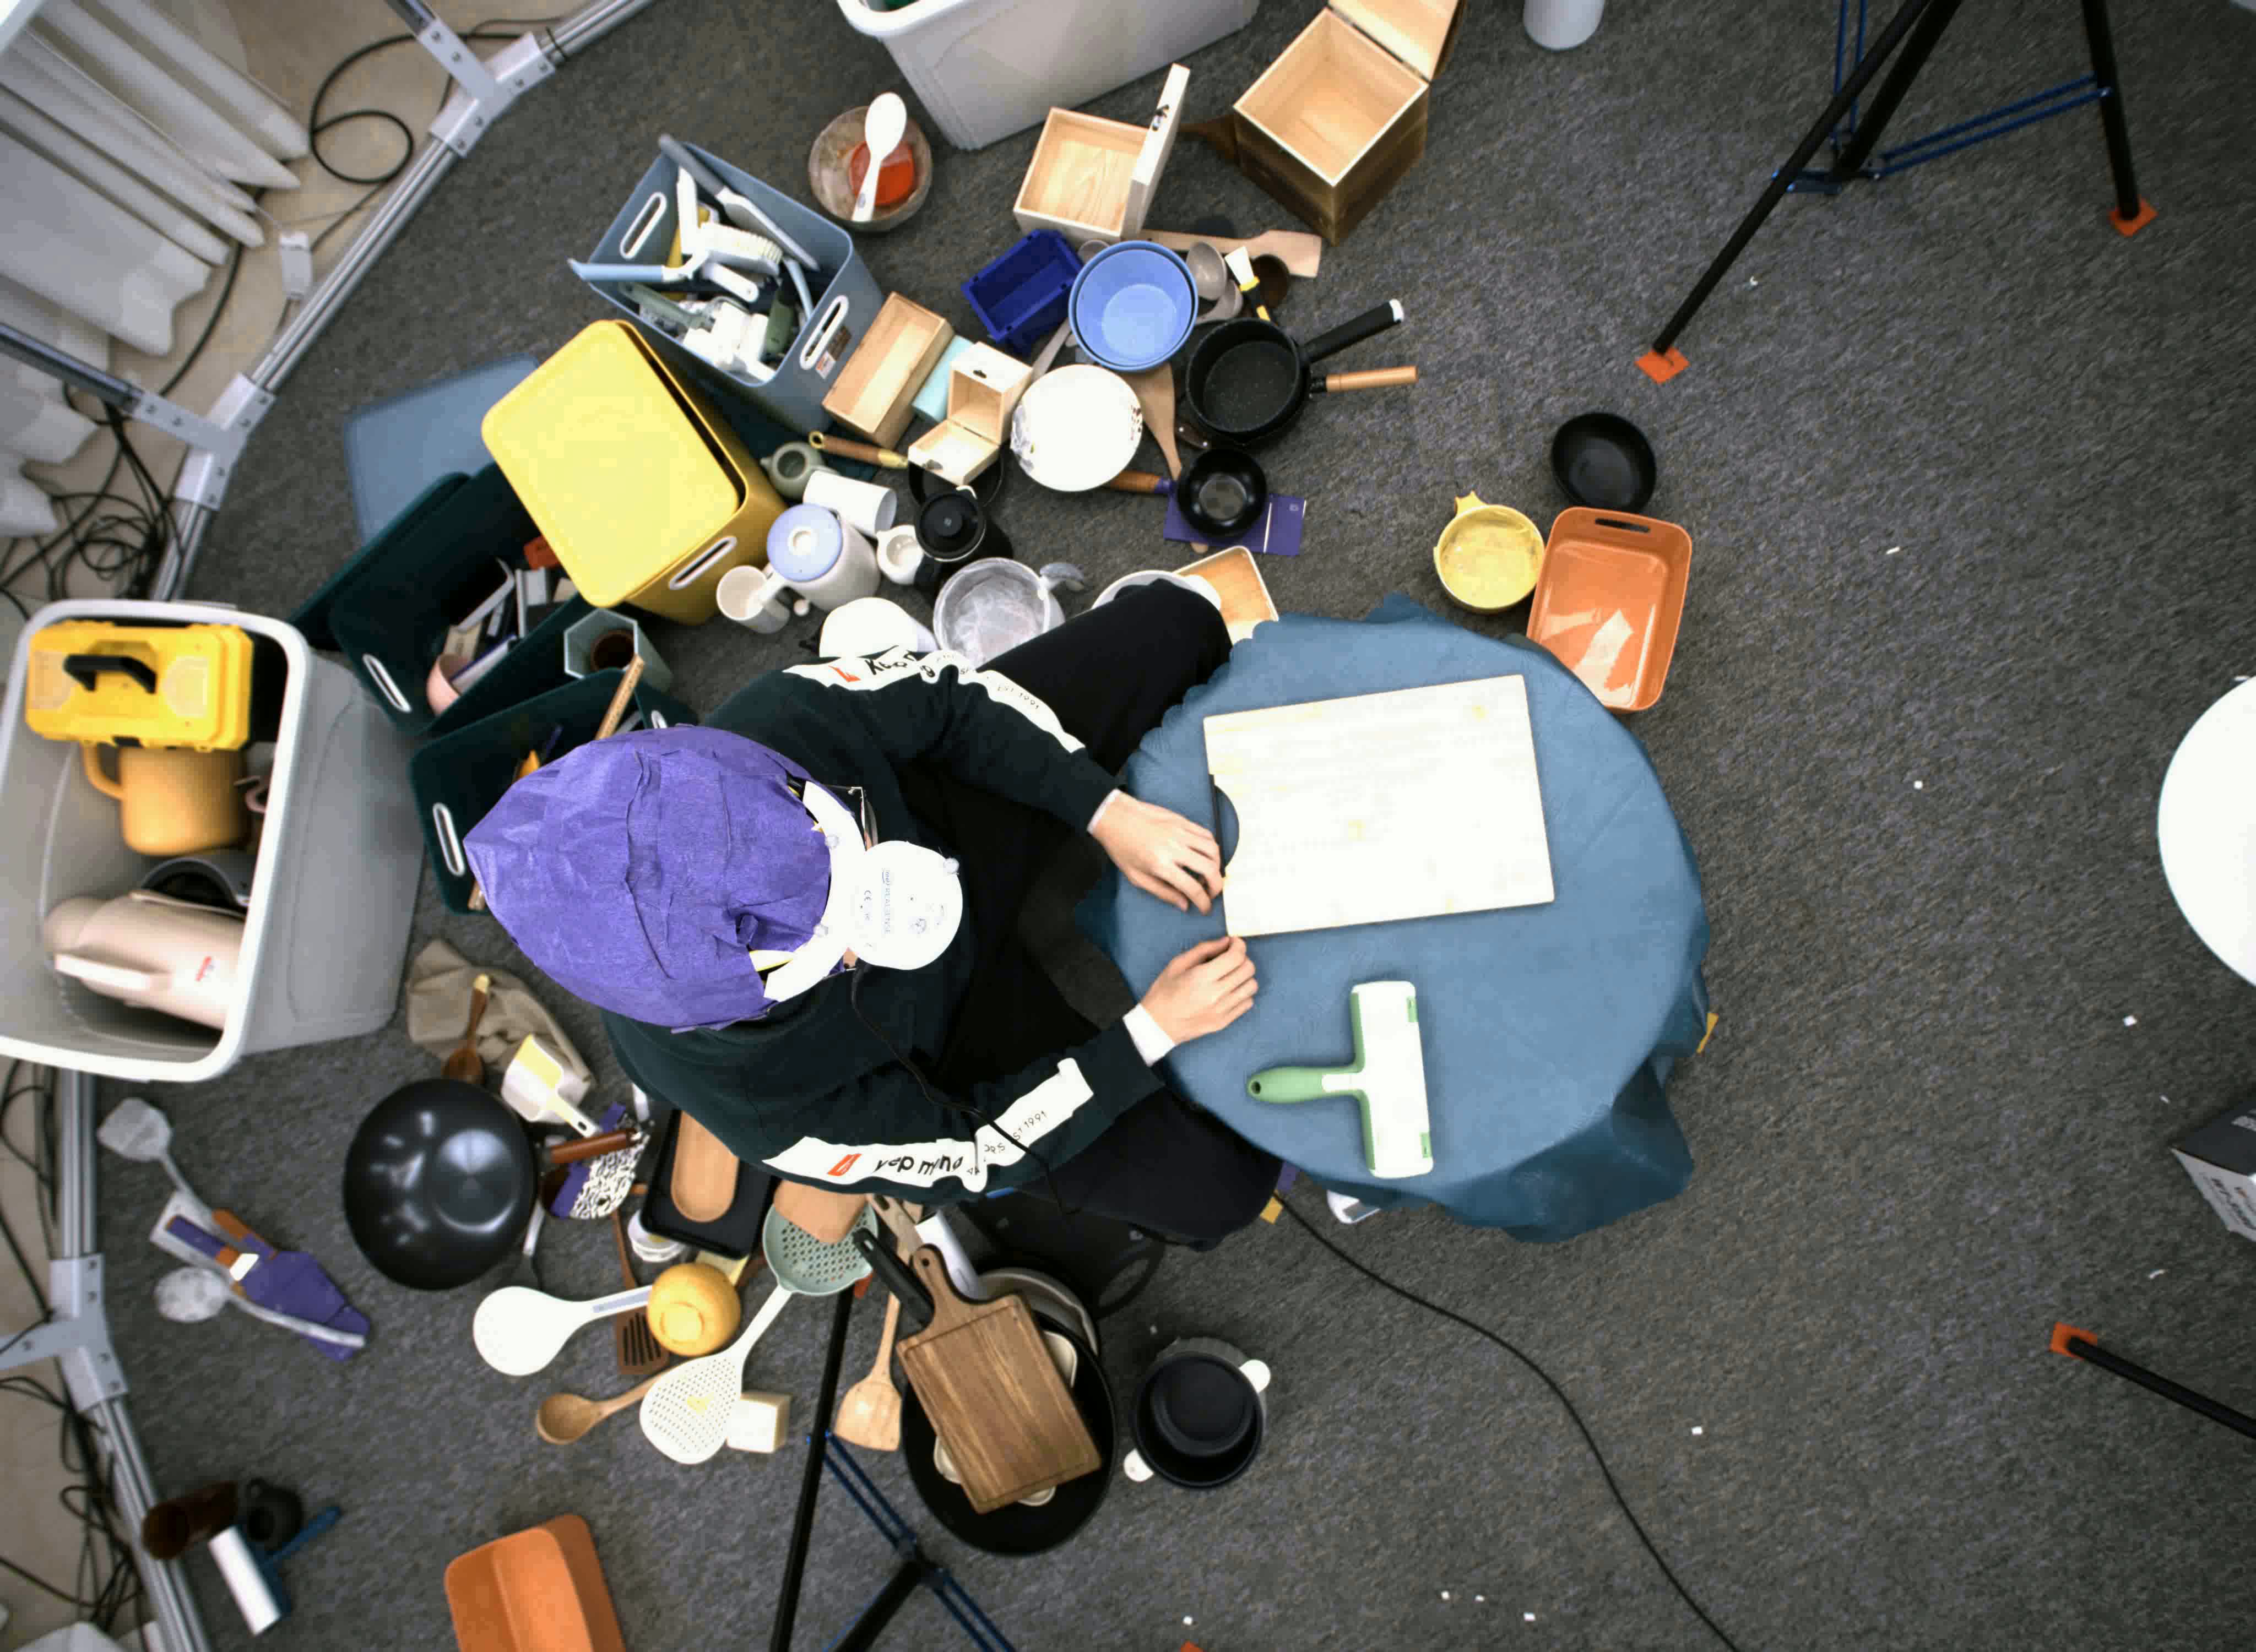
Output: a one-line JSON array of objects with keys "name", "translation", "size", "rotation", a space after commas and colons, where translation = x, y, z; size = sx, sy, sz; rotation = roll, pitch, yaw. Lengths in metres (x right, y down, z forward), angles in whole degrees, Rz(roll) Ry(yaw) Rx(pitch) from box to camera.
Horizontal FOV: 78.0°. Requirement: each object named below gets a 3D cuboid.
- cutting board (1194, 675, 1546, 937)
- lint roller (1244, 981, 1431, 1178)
[{"name": "cutting board", "translation": [0.255, -0.021, 1.455], "size": [0.350, 0.023, 0.249], "rotation": [-8, 85, 10]}, {"name": "lint roller", "translation": [0.209, 0.262, 1.417], "size": [0.184, 0.082, 0.197], "rotation": [-5, 86, 7]}]
